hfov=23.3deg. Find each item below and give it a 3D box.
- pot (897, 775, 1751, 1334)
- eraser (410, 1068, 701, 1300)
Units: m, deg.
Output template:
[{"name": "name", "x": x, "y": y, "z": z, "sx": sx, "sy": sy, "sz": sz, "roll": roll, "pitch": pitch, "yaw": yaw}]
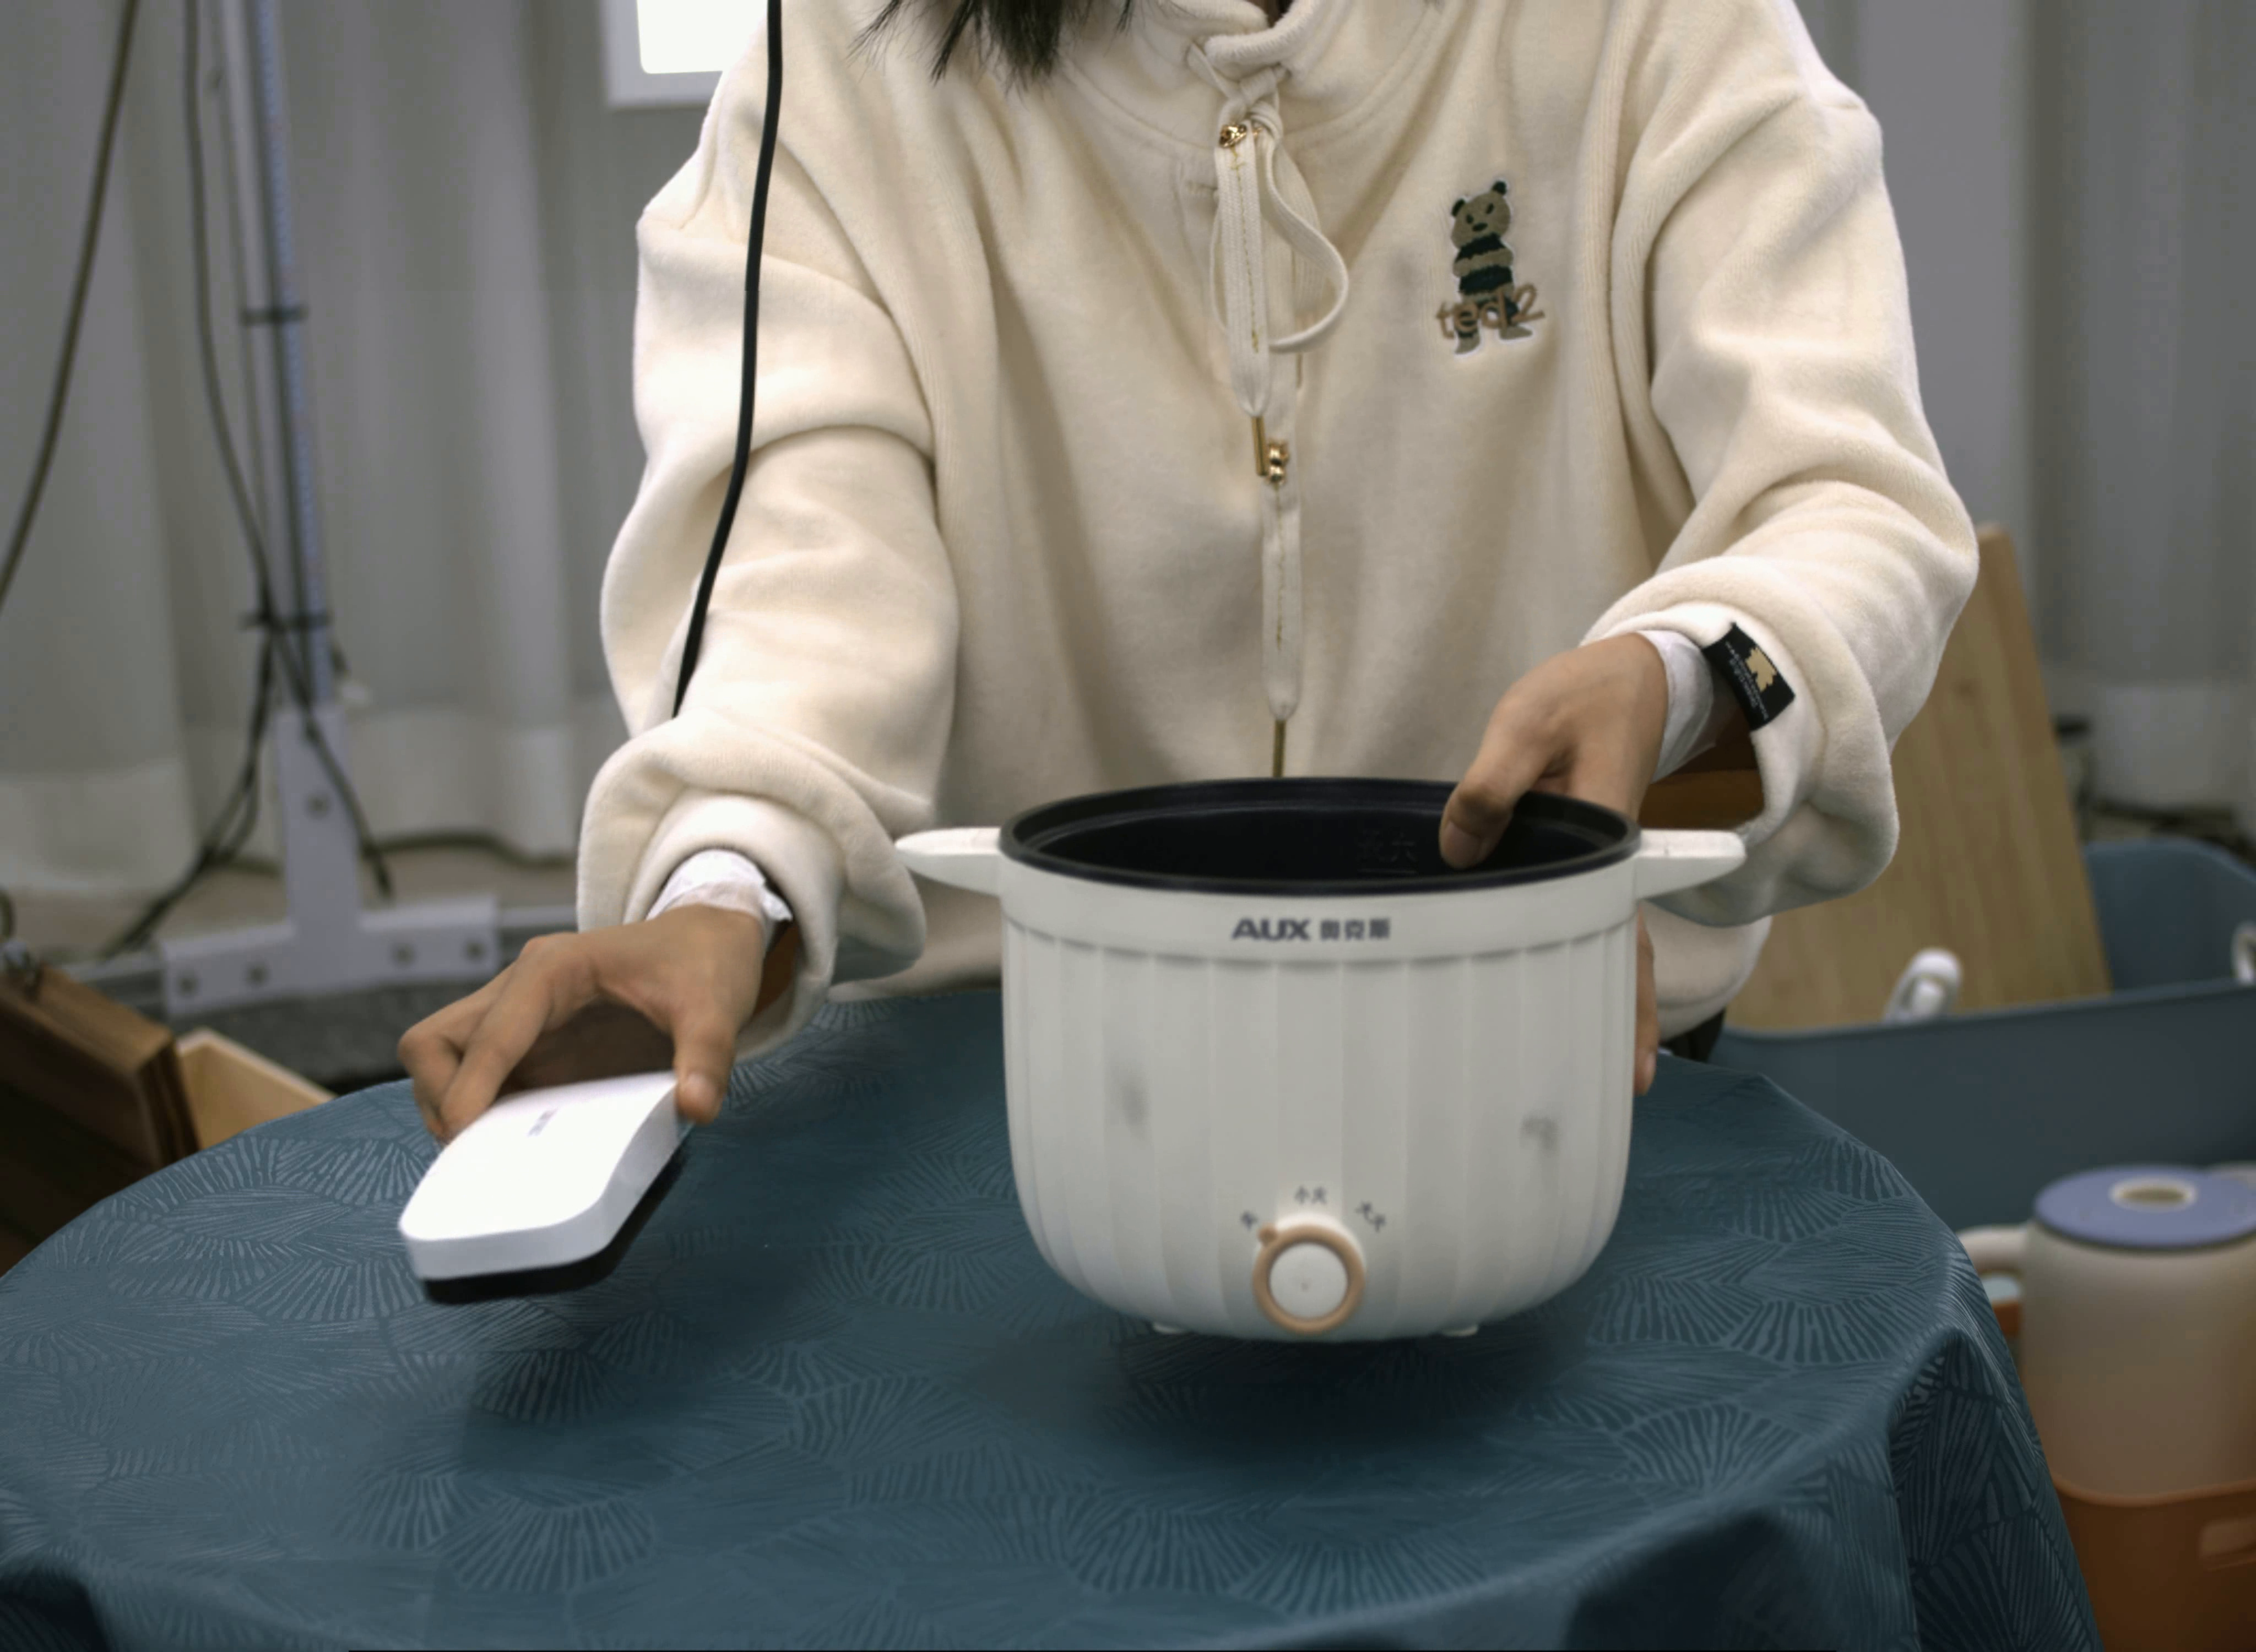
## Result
[{"name": "pot", "x": 0.056, "y": 0.065, "z": 1.538, "sx": 0.240, "sy": 0.143, "sz": 0.191, "roll": -1, "pitch": 5, "yaw": 3}, {"name": "eraser", "x": -0.163, "y": 0.099, "z": 1.588, "sx": 0.063, "sy": 0.034, "sz": 0.132, "roll": -7, "pitch": 15, "yaw": 11}]
